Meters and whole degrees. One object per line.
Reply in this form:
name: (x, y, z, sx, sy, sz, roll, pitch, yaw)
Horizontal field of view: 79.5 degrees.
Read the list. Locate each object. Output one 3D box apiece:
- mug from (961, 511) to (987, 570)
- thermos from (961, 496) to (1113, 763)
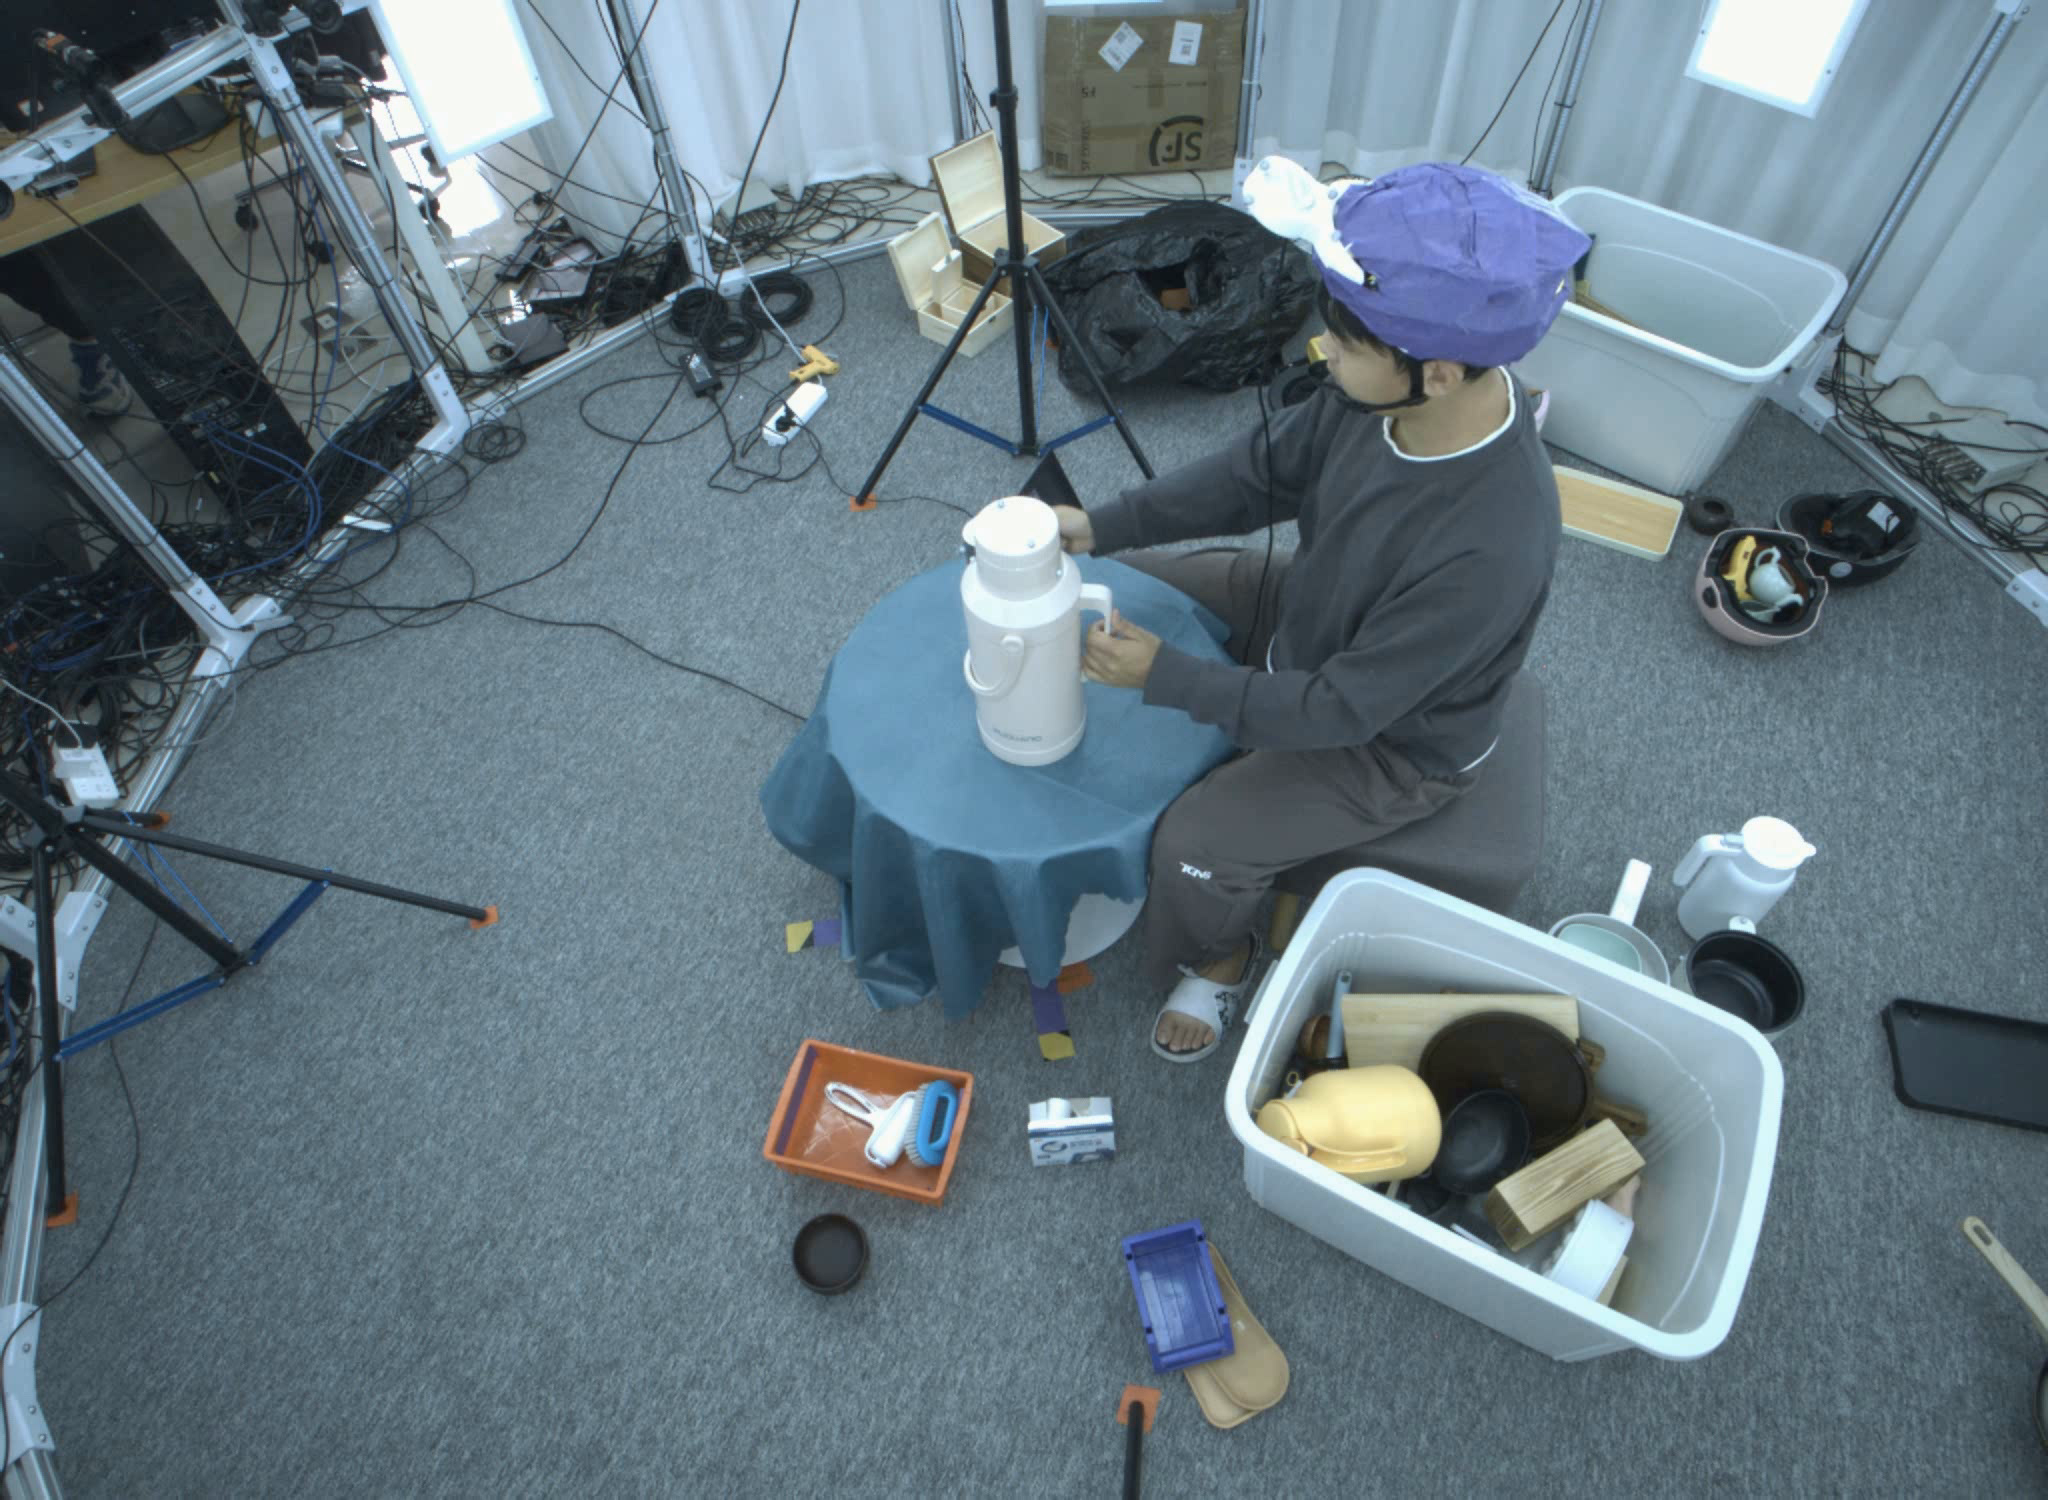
mug: (-0.030, -0.299, 1.811, 0.123, 0.091, 0.092, -15, 48, -1)
thermos: (0.015, -0.156, 1.653, 0.206, 0.411, 0.174, 3, 55, 6)
